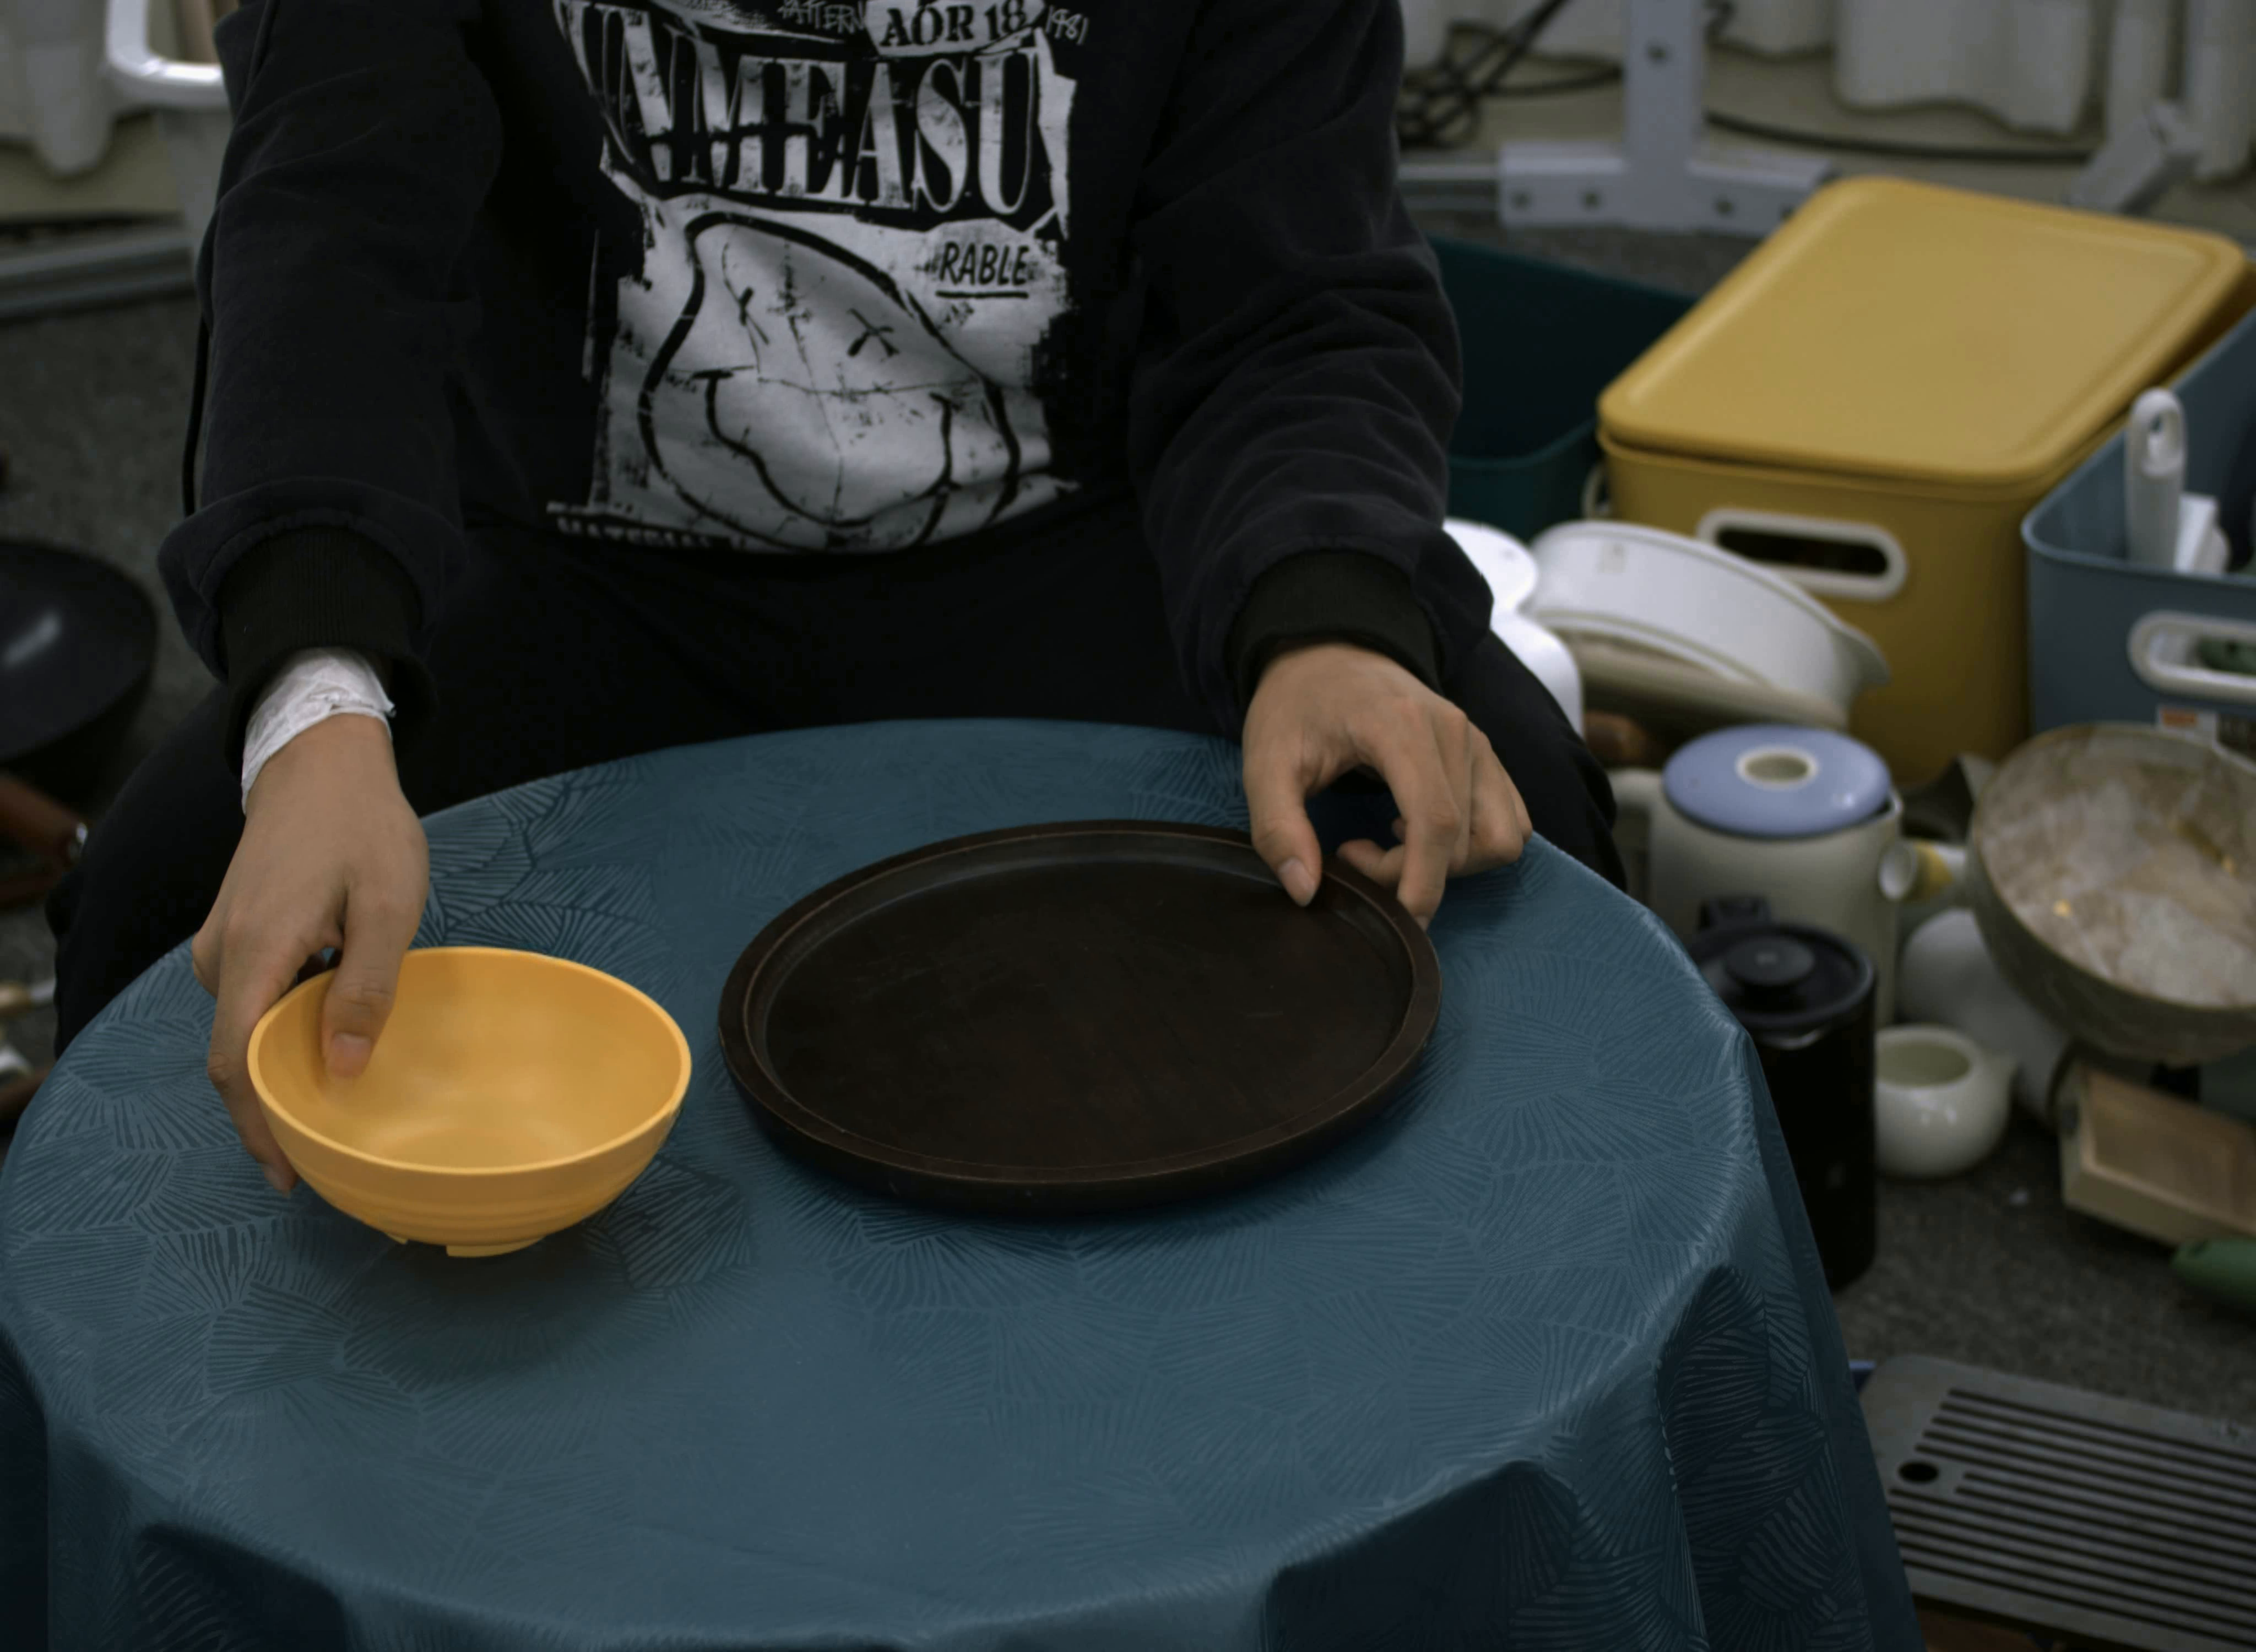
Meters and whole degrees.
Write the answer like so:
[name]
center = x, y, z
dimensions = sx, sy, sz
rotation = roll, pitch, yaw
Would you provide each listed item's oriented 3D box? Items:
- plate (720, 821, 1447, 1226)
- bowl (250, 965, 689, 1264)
[plate]
center = -0.015, 0.067, 1.945
dimensions = 0.253, 0.029, 0.258
rotation = -4, 27, 2
[bowl]
center = -0.217, 0.104, 1.850
dimensions = 0.145, 0.059, 0.147
rotation = 4, 24, -1
